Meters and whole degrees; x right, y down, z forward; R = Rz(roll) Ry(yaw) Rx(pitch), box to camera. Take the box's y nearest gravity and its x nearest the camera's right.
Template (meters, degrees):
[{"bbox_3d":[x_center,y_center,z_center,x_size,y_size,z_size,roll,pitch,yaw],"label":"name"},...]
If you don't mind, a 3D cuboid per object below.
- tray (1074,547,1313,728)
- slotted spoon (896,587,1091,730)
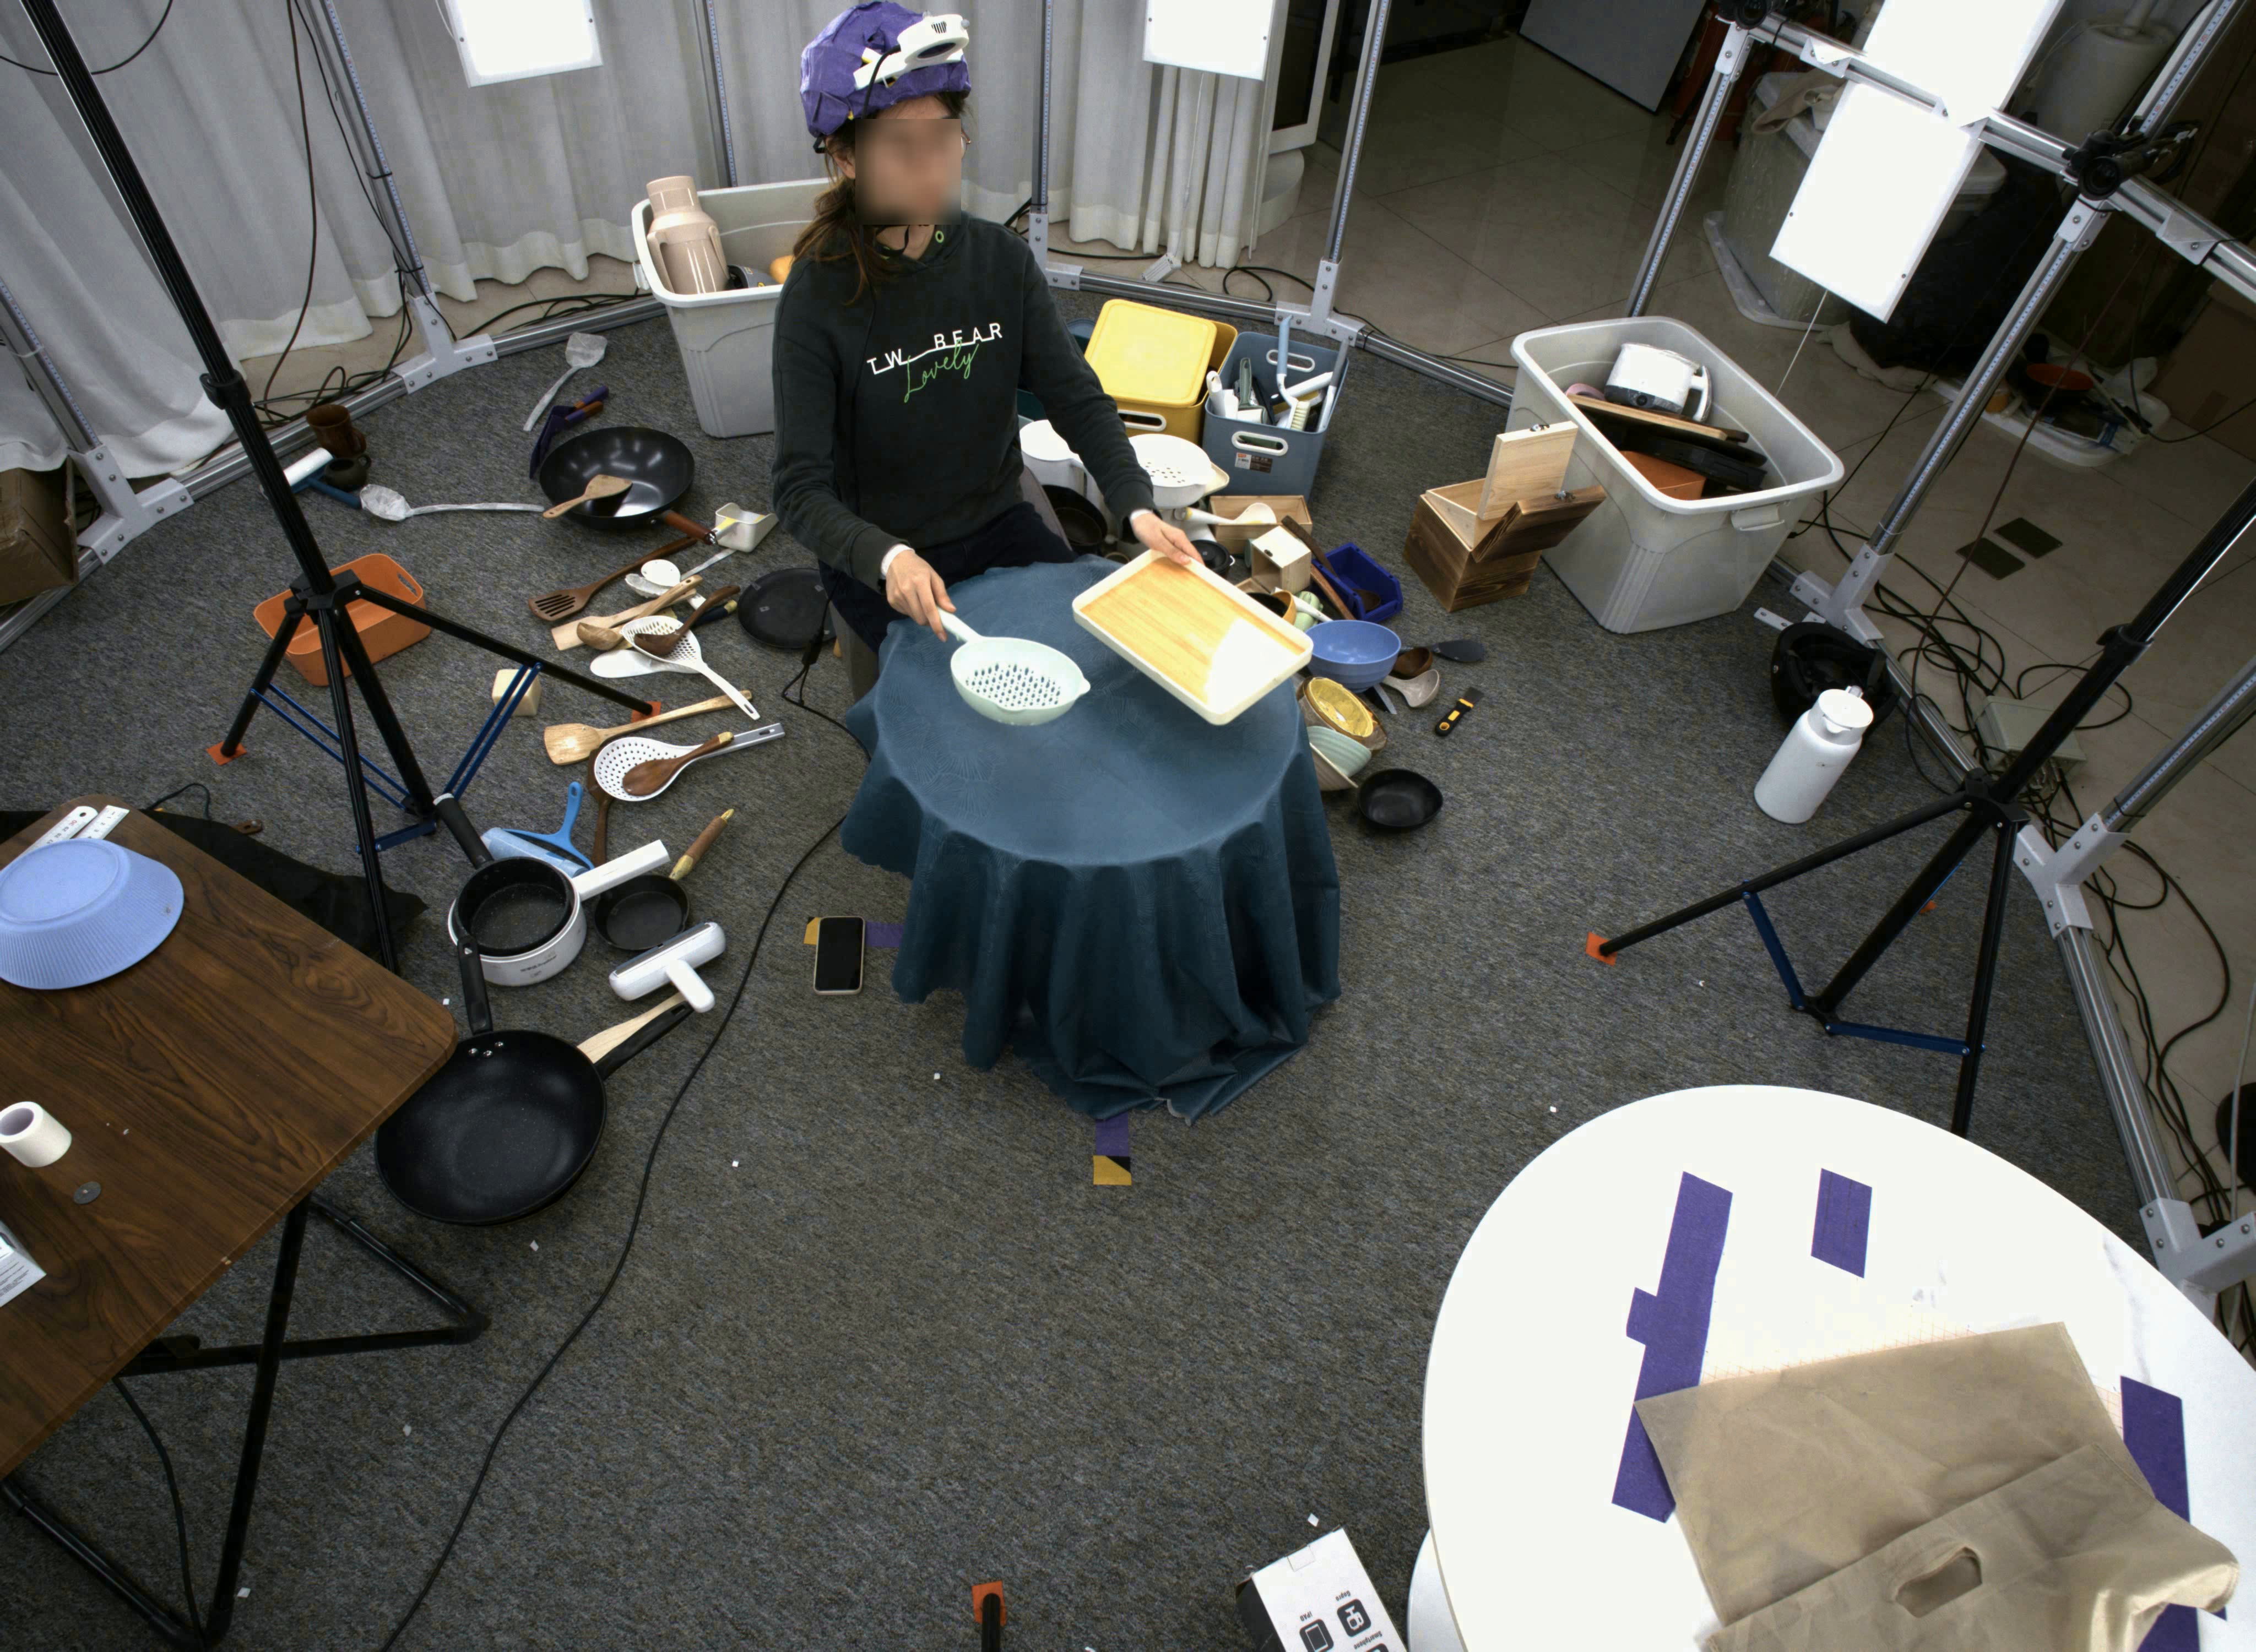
[{"bbox_3d":[0.087,-0.267,1.777,0.193,0.027,0.305,-36,58,-23],"label":"tray"},{"bbox_3d":[-0.202,-0.235,1.688,0.170,0.074,0.365,-18,53,-37],"label":"slotted spoon"}]
